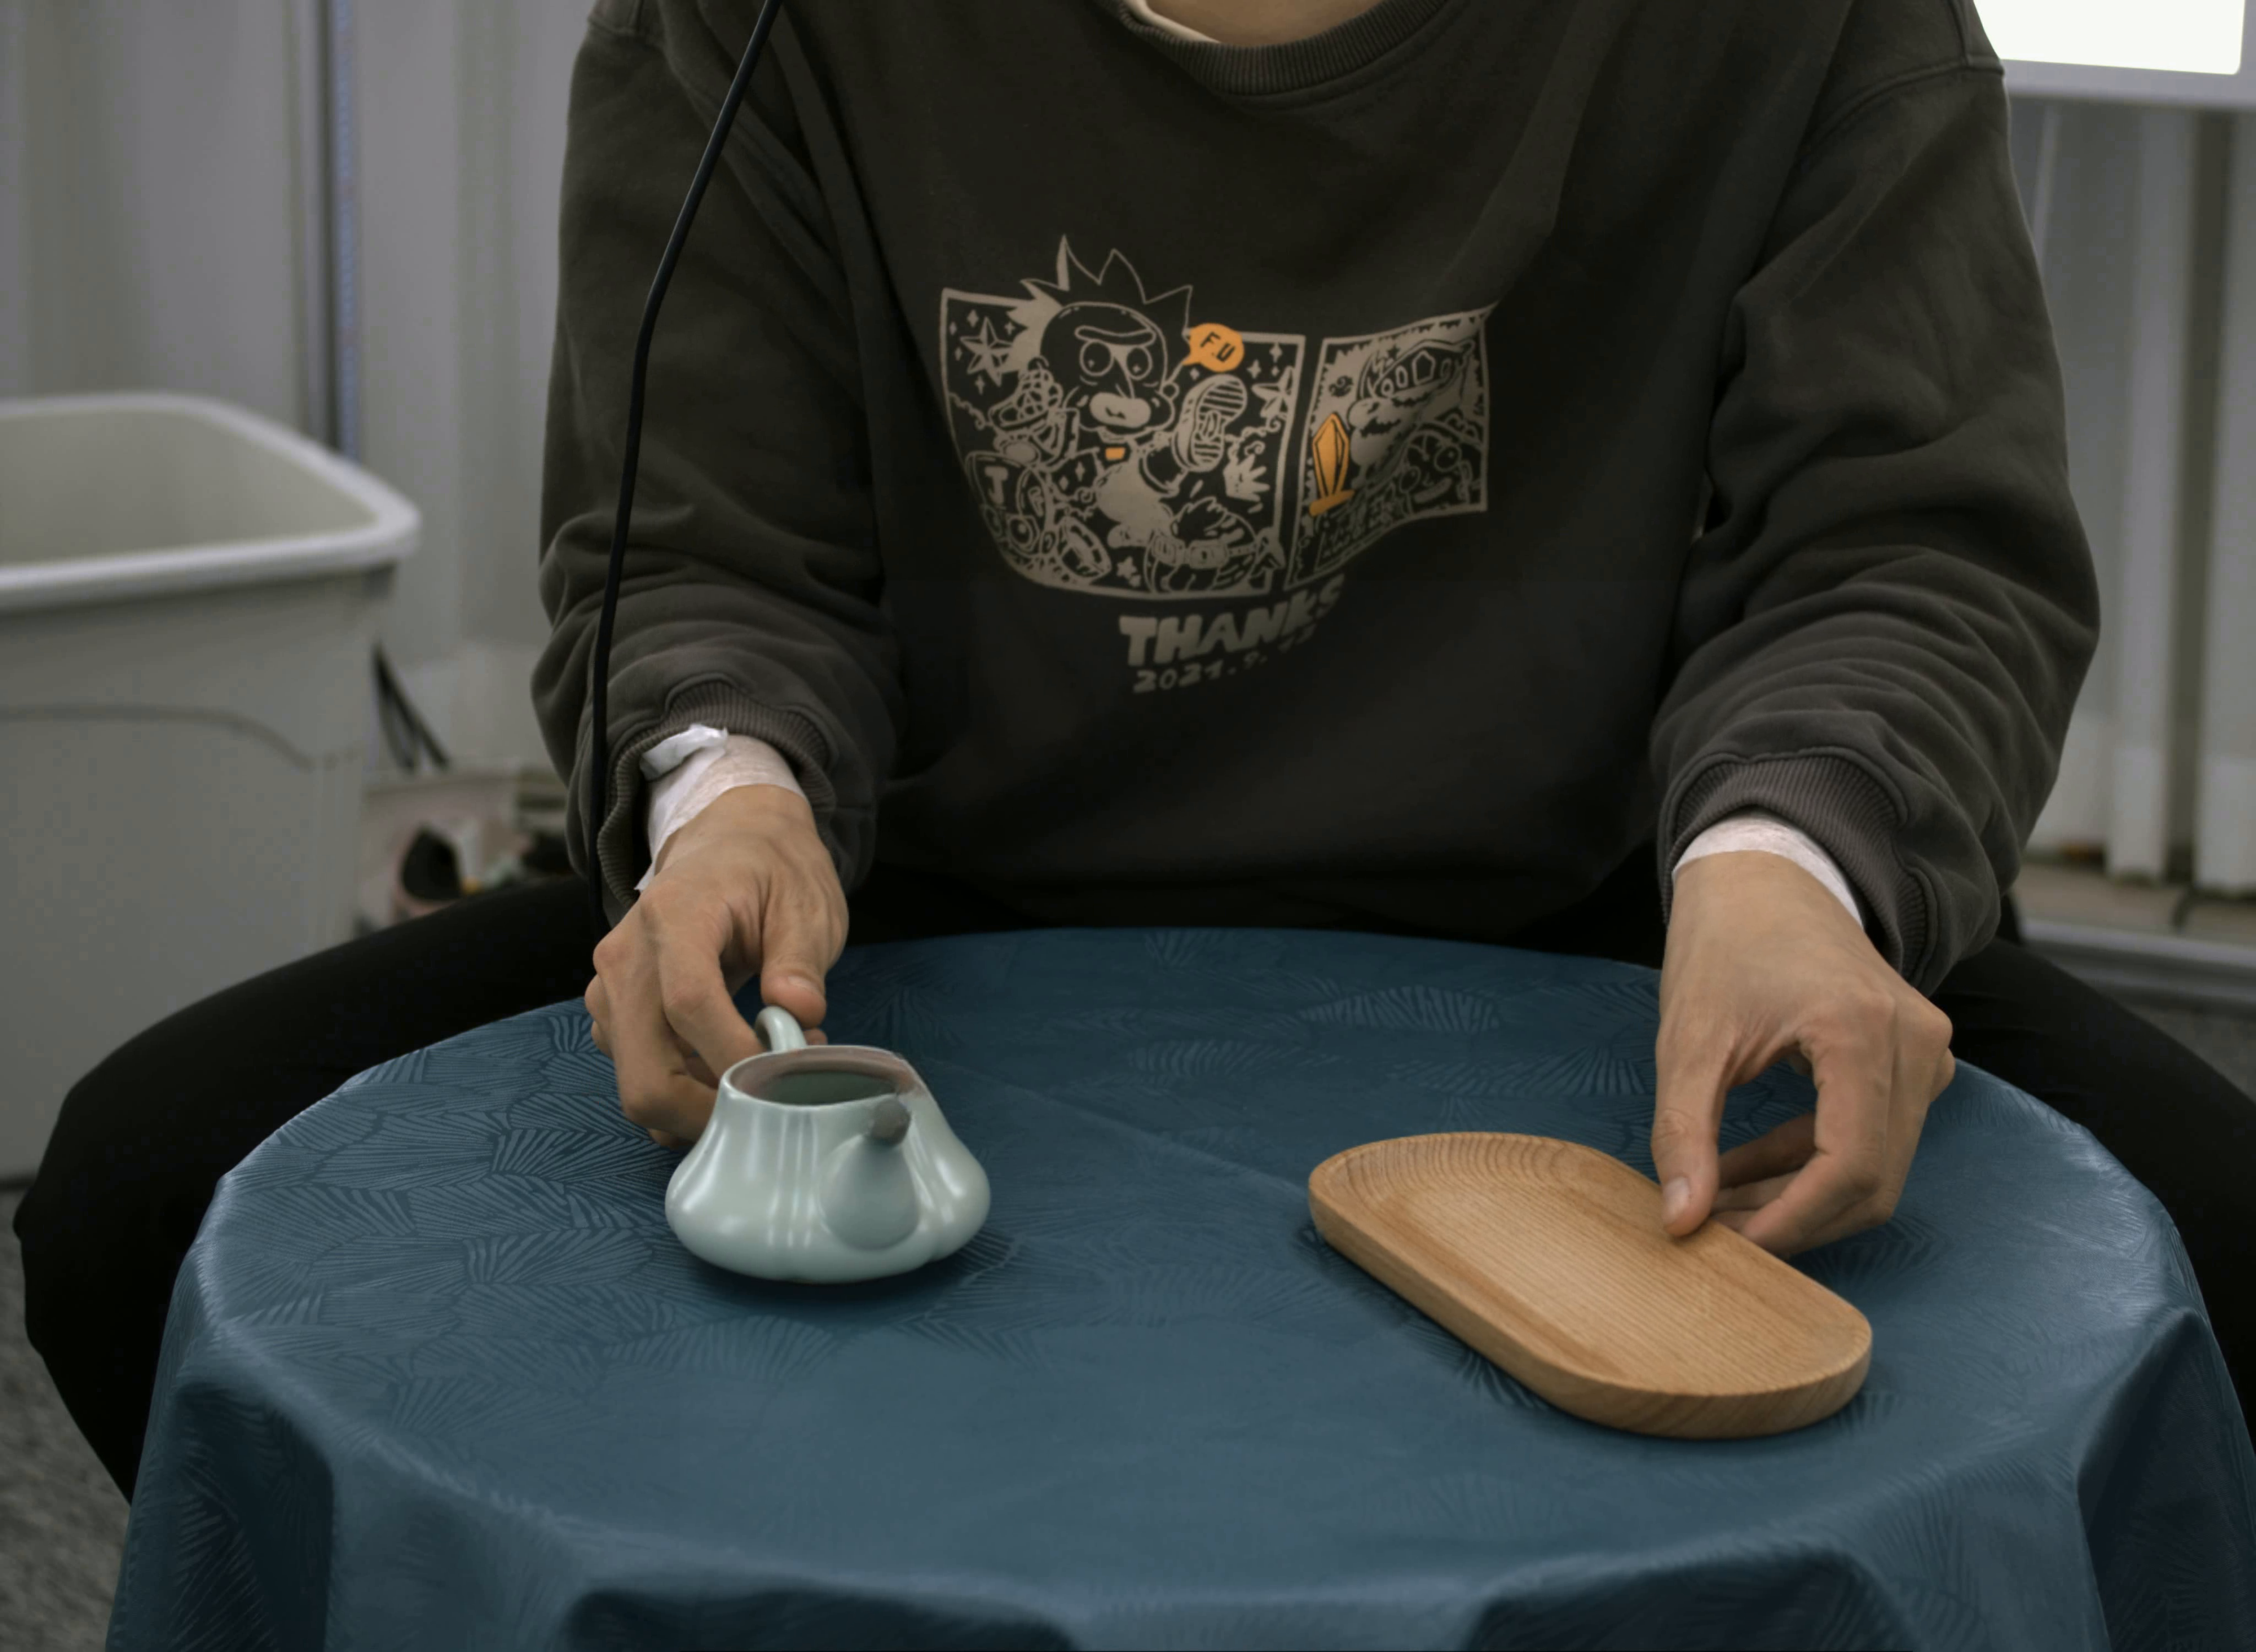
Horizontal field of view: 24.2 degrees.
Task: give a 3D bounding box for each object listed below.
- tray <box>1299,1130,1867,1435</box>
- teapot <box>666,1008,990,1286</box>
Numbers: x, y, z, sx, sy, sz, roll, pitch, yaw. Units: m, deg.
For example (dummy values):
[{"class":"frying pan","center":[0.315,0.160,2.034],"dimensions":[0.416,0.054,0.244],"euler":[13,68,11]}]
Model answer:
[{"class":"tray","center":[0.130,0.131,1.538],"dimensions":[0.102,0.020,0.228],"euler":[-6,16,-24]},{"class":"teapot","center":[-0.091,0.098,1.568],"dimensions":[0.096,0.062,0.135],"euler":[-8,18,-22]}]
